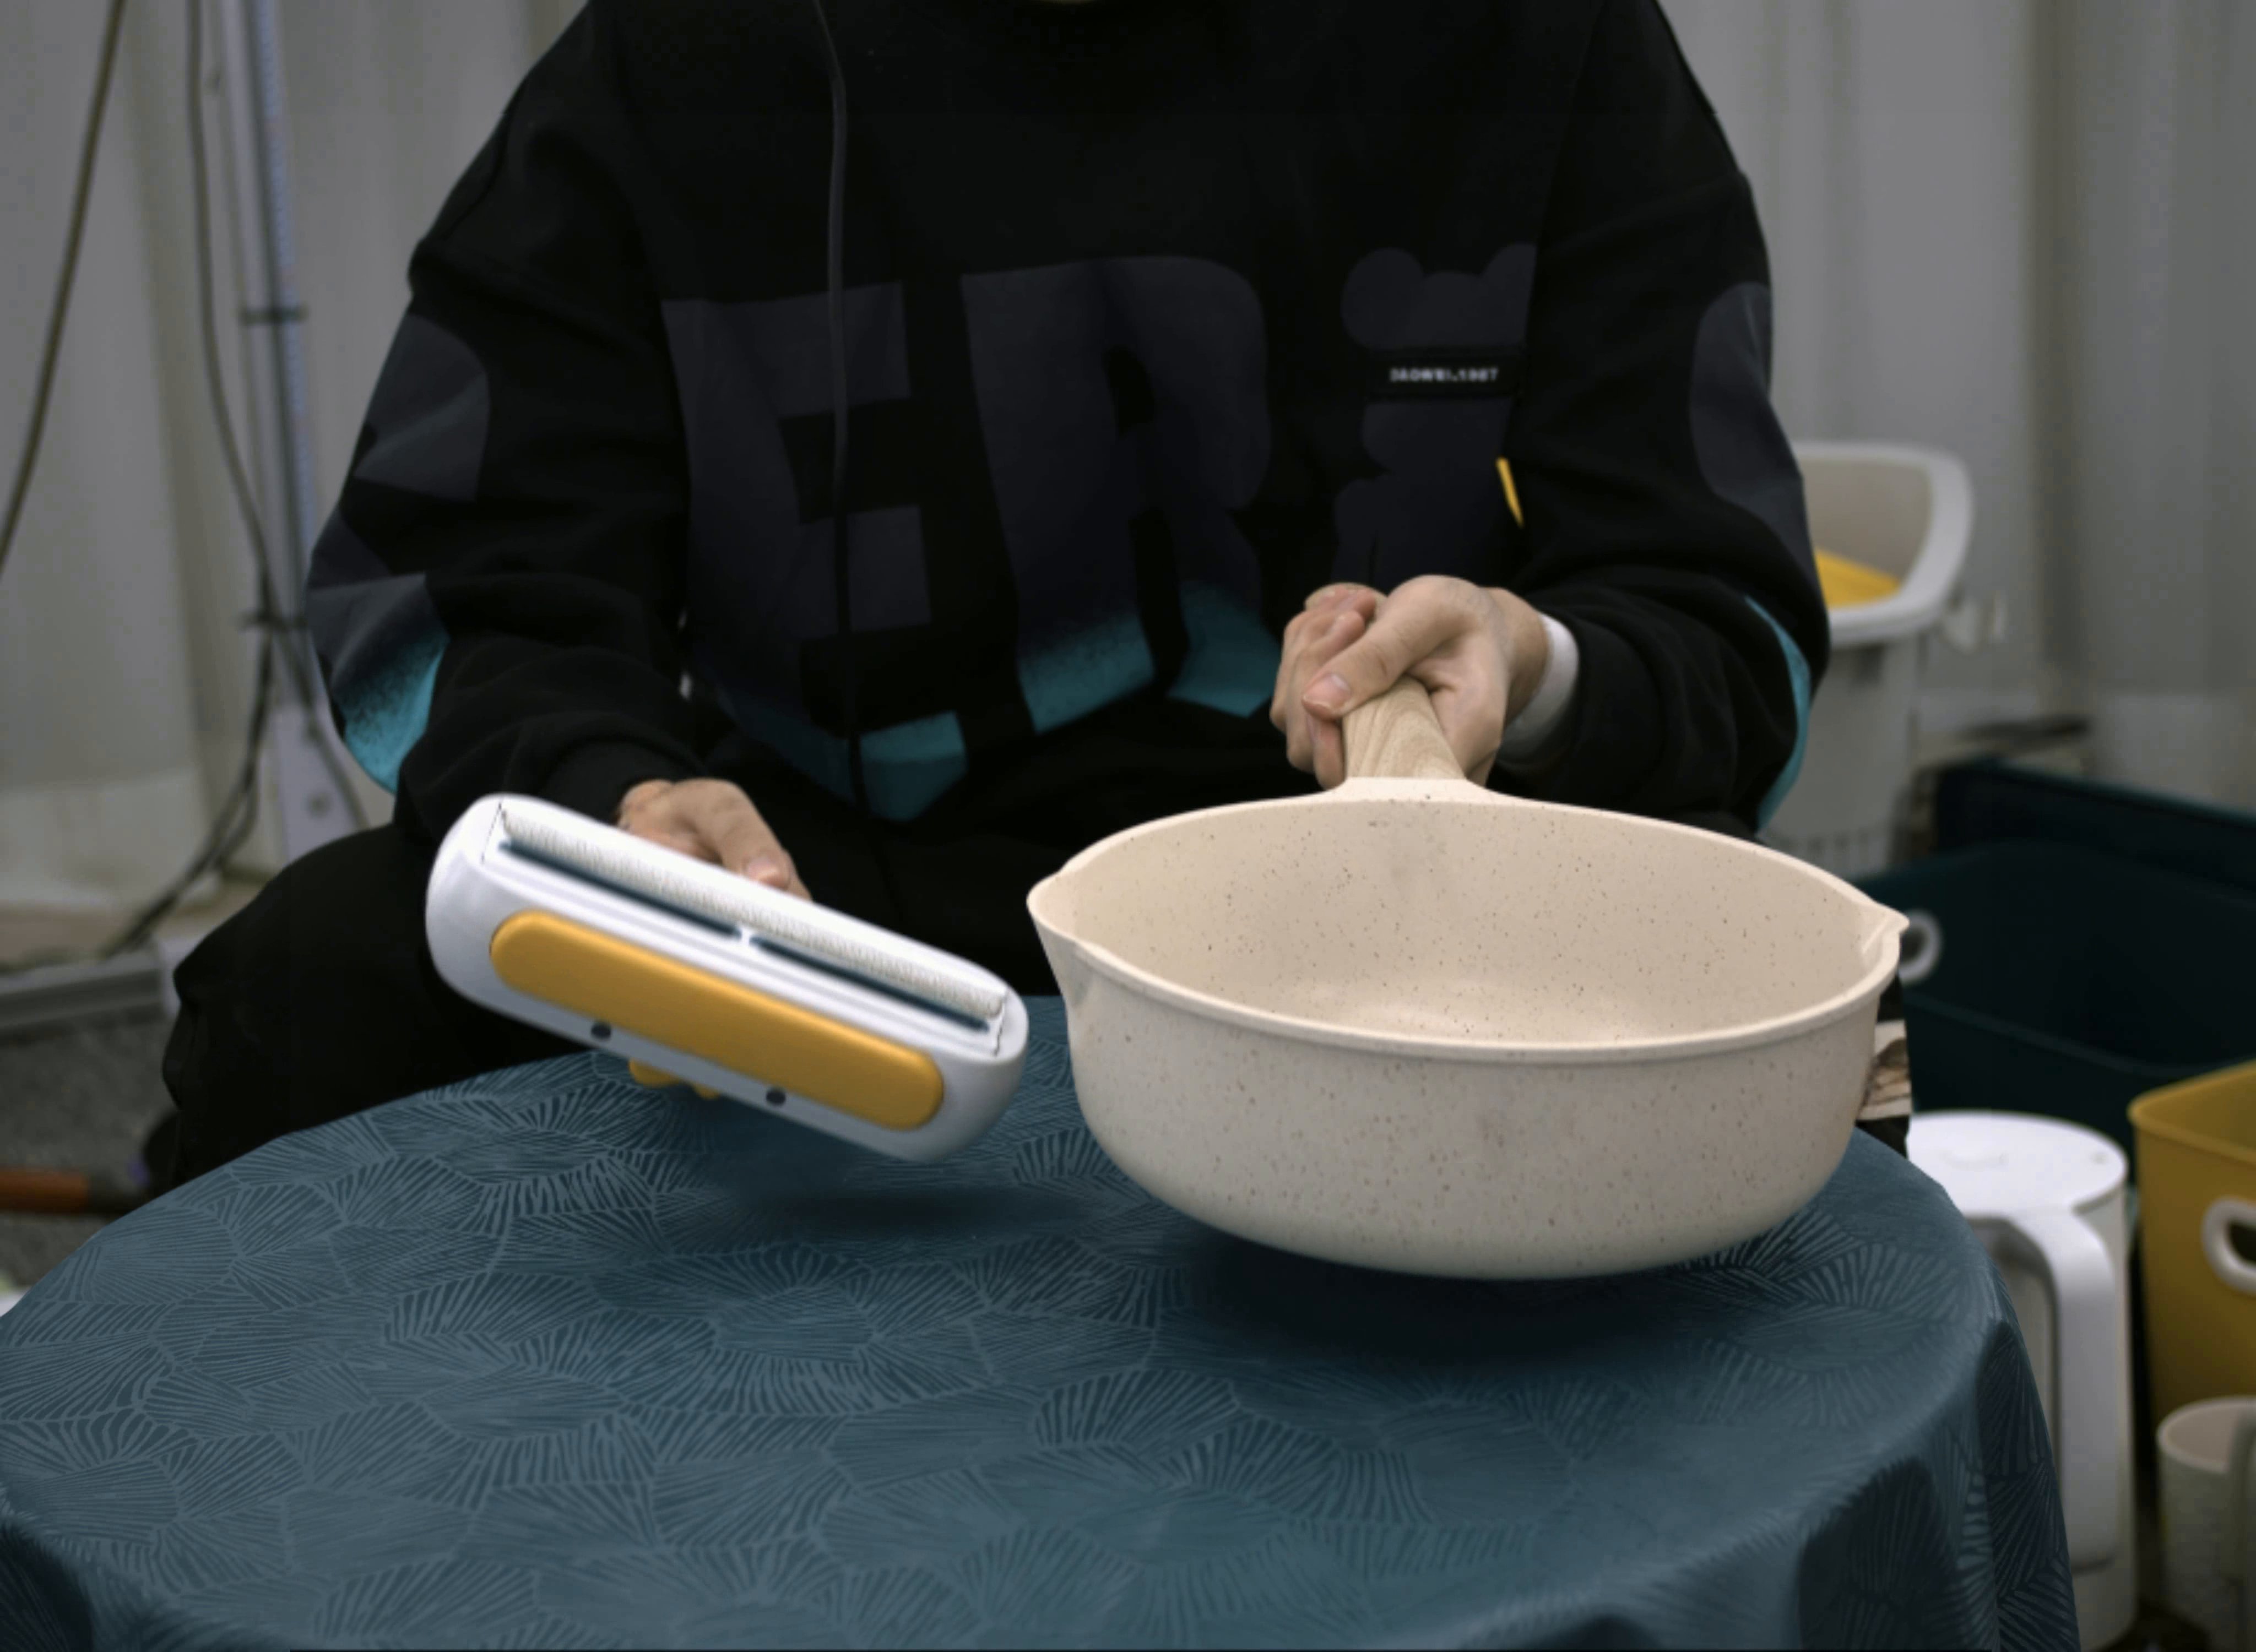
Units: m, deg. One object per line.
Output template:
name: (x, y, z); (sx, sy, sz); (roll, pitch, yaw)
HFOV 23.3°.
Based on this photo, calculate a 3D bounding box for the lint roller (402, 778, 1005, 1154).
lint roller: (-0.130, 0.033, 1.748); (0.192, 0.074, 0.194); (18, 17, -2)

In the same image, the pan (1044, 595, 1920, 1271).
pan: (0.096, 0.029, 1.710); (0.262, 0.101, 0.438); (-1, 16, -6)
